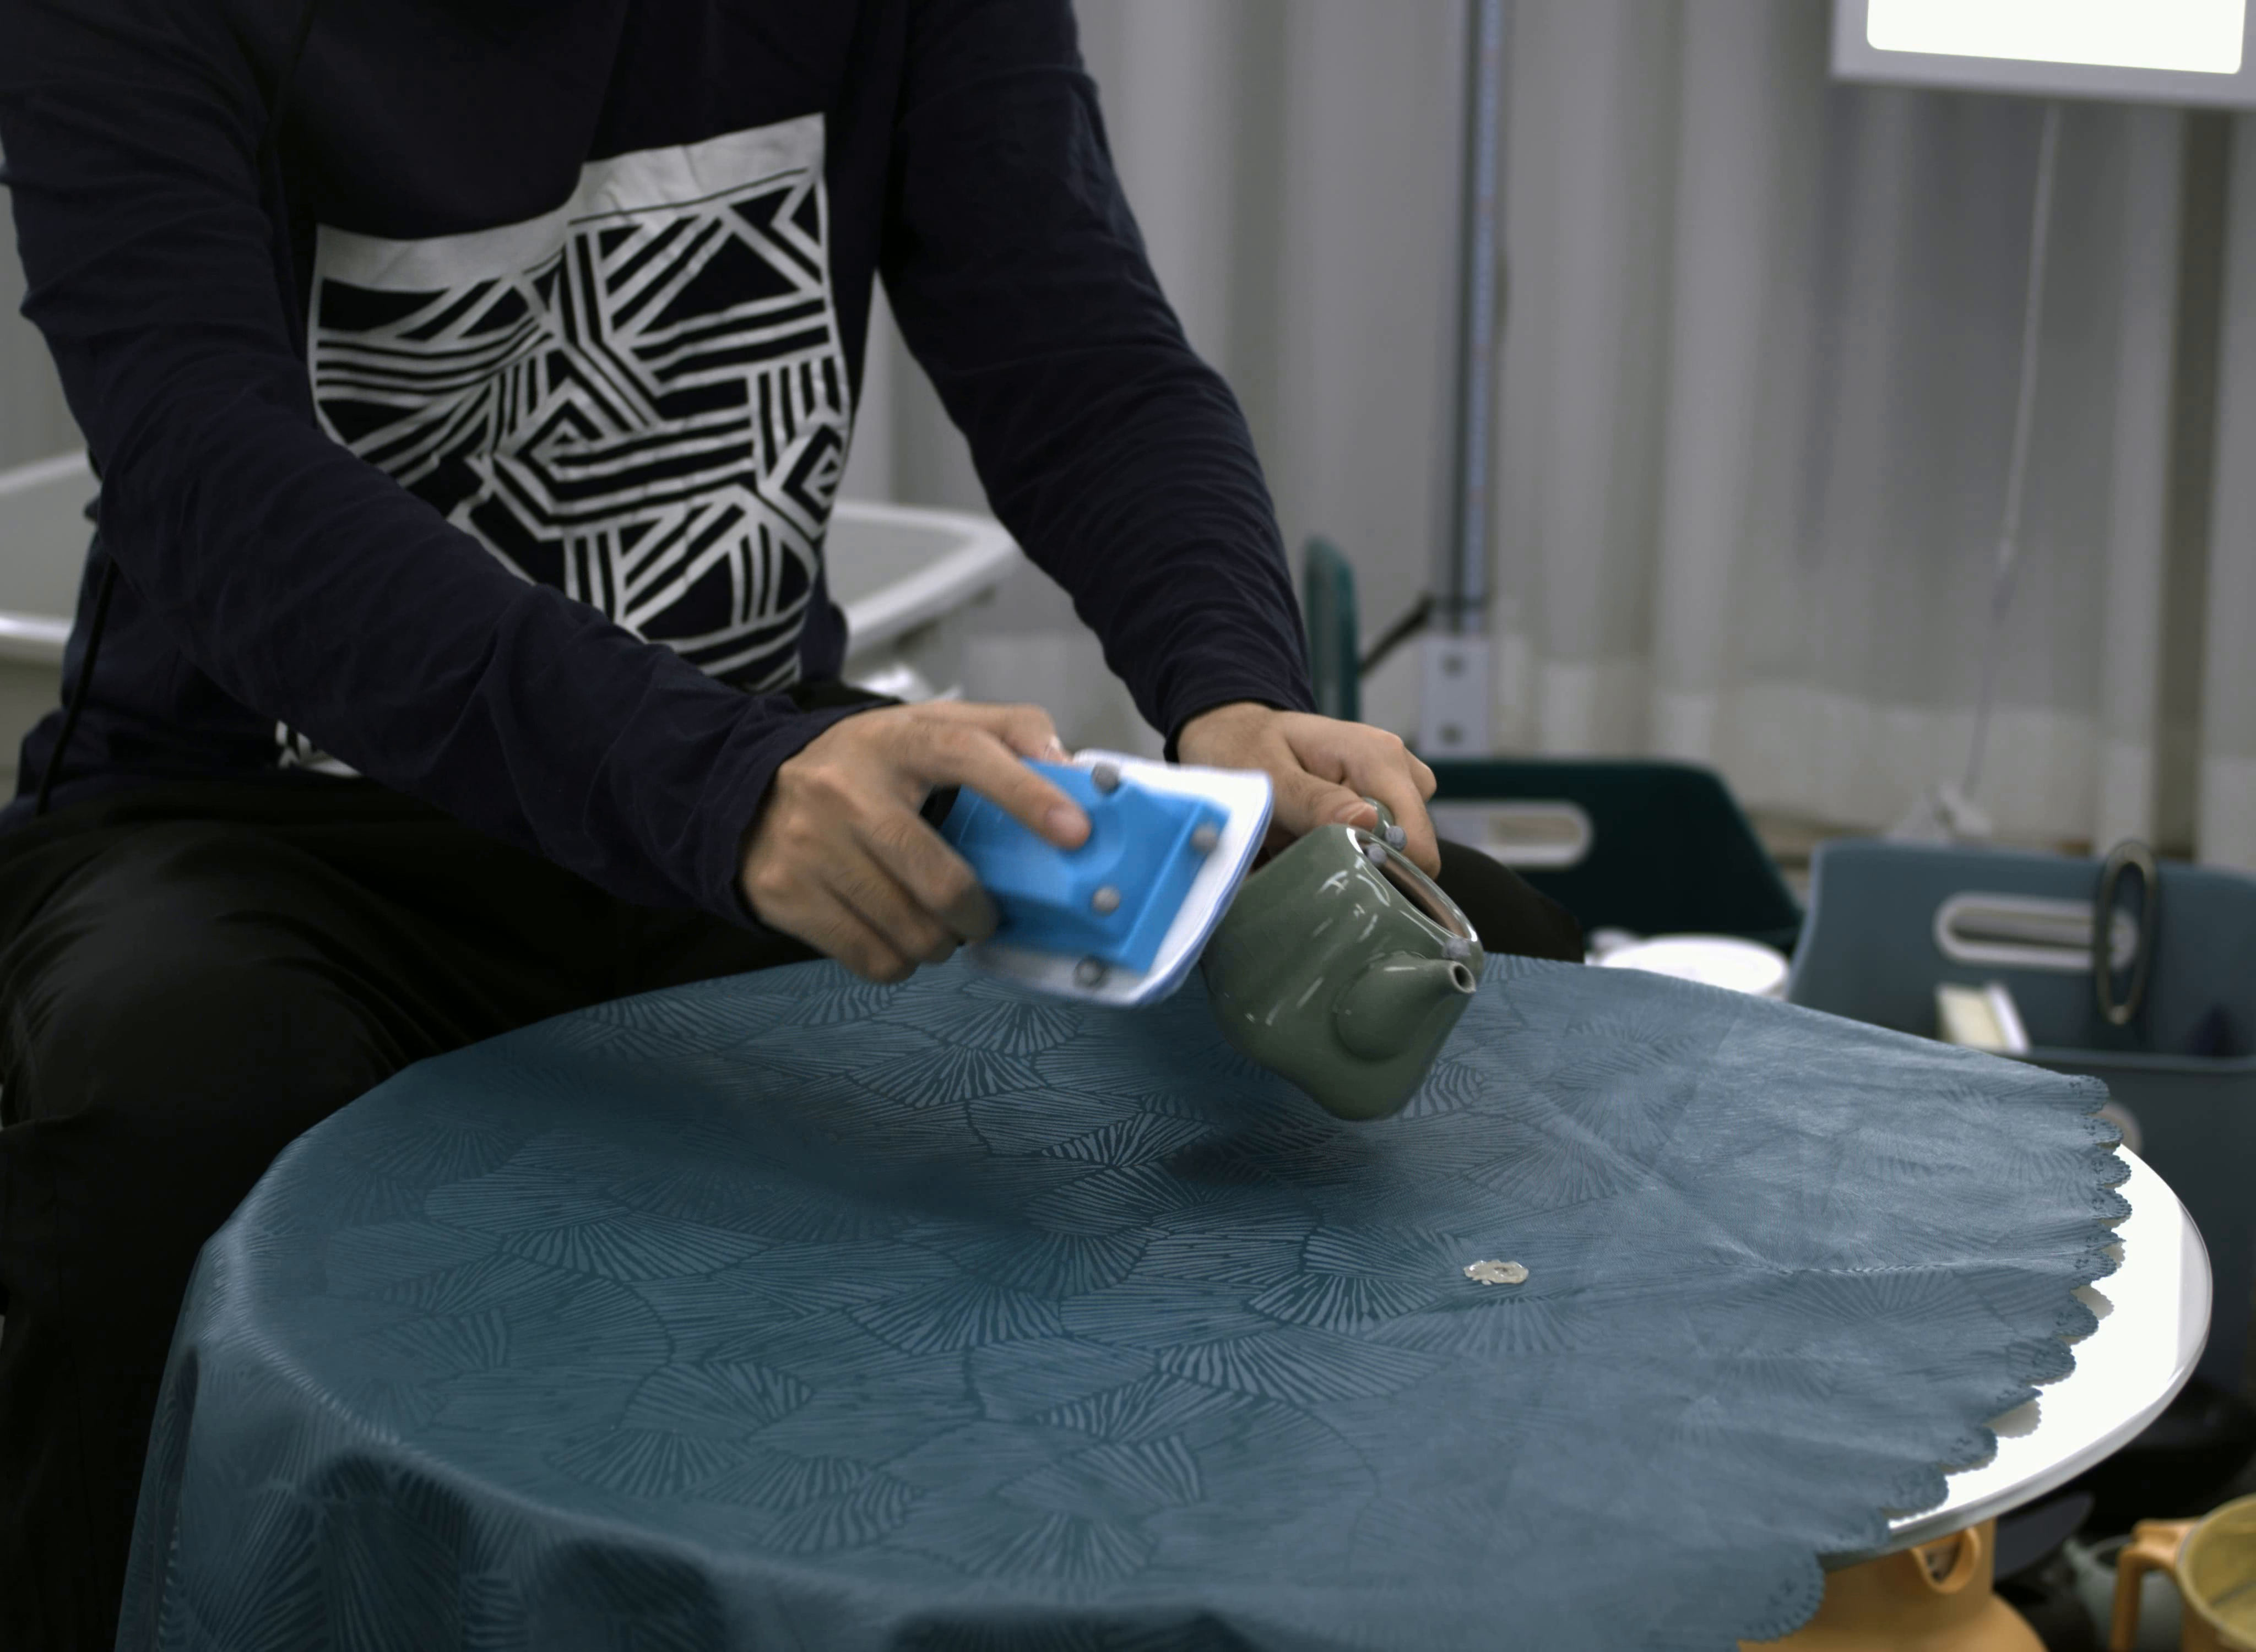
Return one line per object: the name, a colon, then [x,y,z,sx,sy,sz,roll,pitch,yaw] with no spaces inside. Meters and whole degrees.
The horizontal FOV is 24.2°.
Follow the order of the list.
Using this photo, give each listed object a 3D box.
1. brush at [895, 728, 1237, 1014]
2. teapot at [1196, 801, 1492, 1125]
brush: [-0.027,0.009,1.605,0.056,0.084,0.142,39,-10,-27]
teapot: [0.070,0.044,1.648,0.080,0.075,0.131,34,13,-26]
